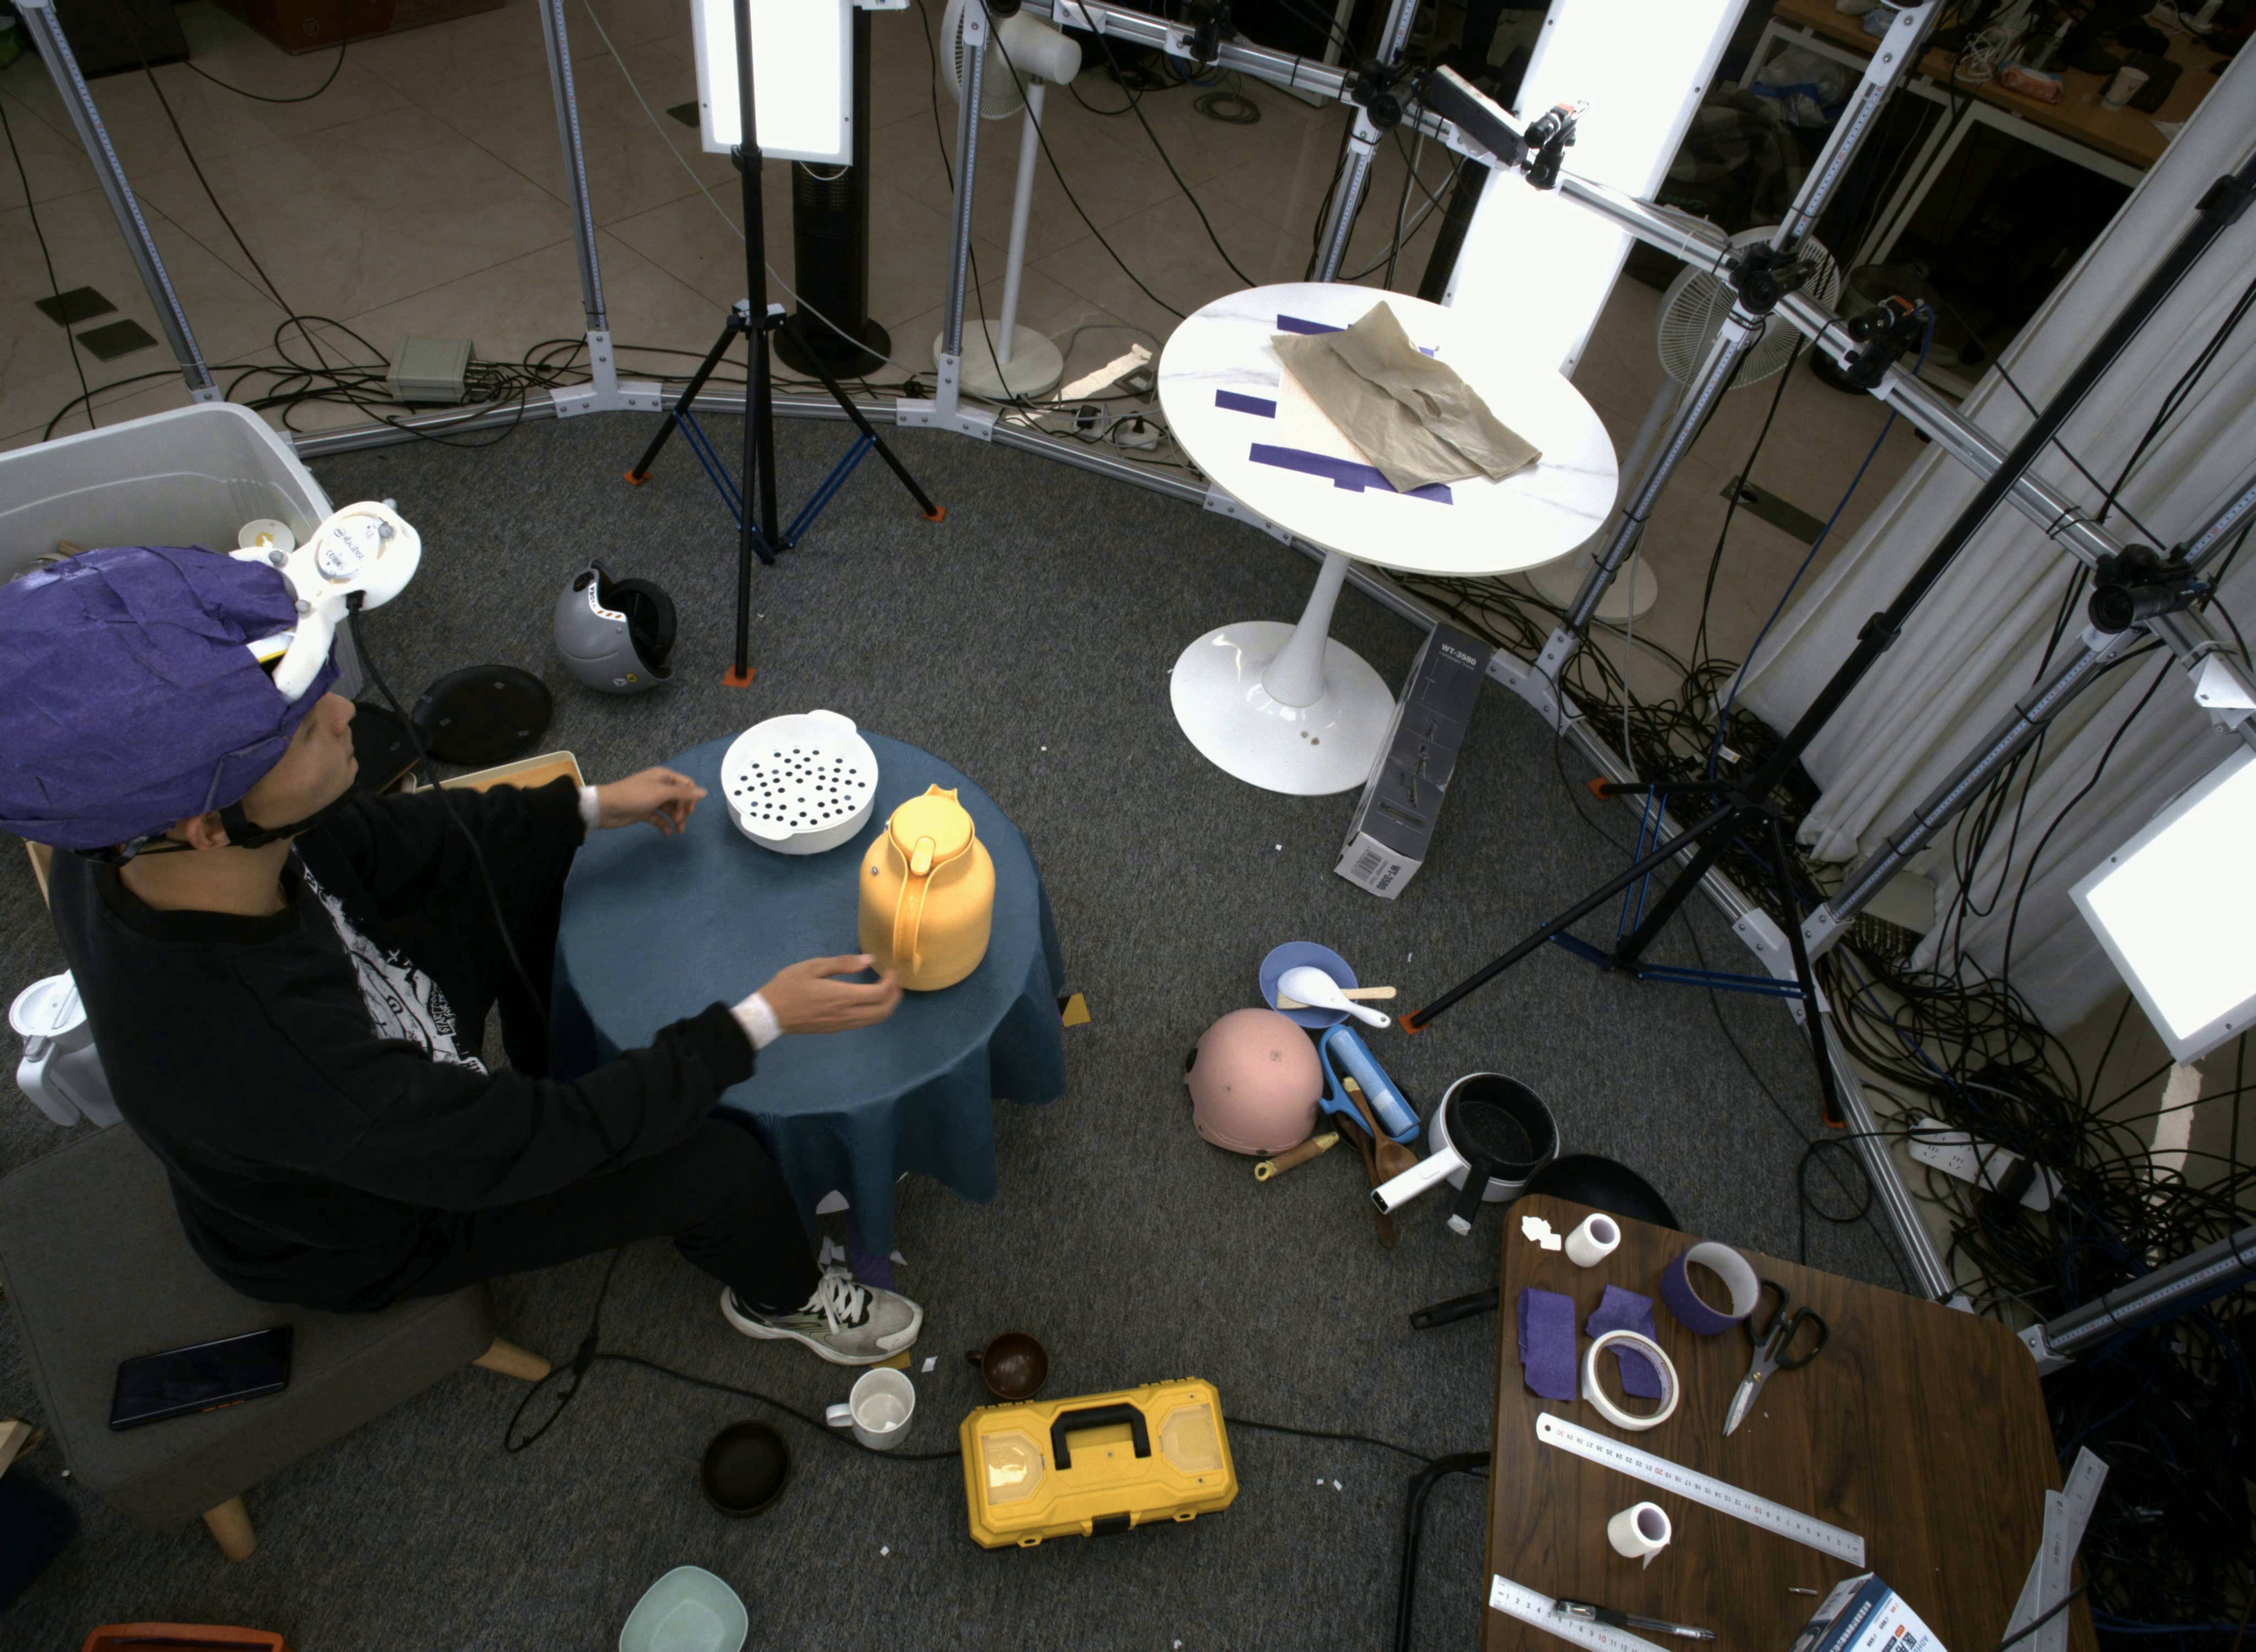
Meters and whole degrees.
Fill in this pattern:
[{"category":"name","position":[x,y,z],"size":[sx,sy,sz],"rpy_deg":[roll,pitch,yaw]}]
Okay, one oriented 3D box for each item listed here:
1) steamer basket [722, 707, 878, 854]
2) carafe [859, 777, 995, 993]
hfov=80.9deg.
[{"category":"steamer basket","position":[-0.434,-0.056,1.722],"size":[0.200,0.070,0.228],"rpy_deg":[20,52,1]},{"category":"carafe","position":[-0.244,0.083,1.536],"size":[0.162,0.267,0.199],"rpy_deg":[12,49,1]}]
